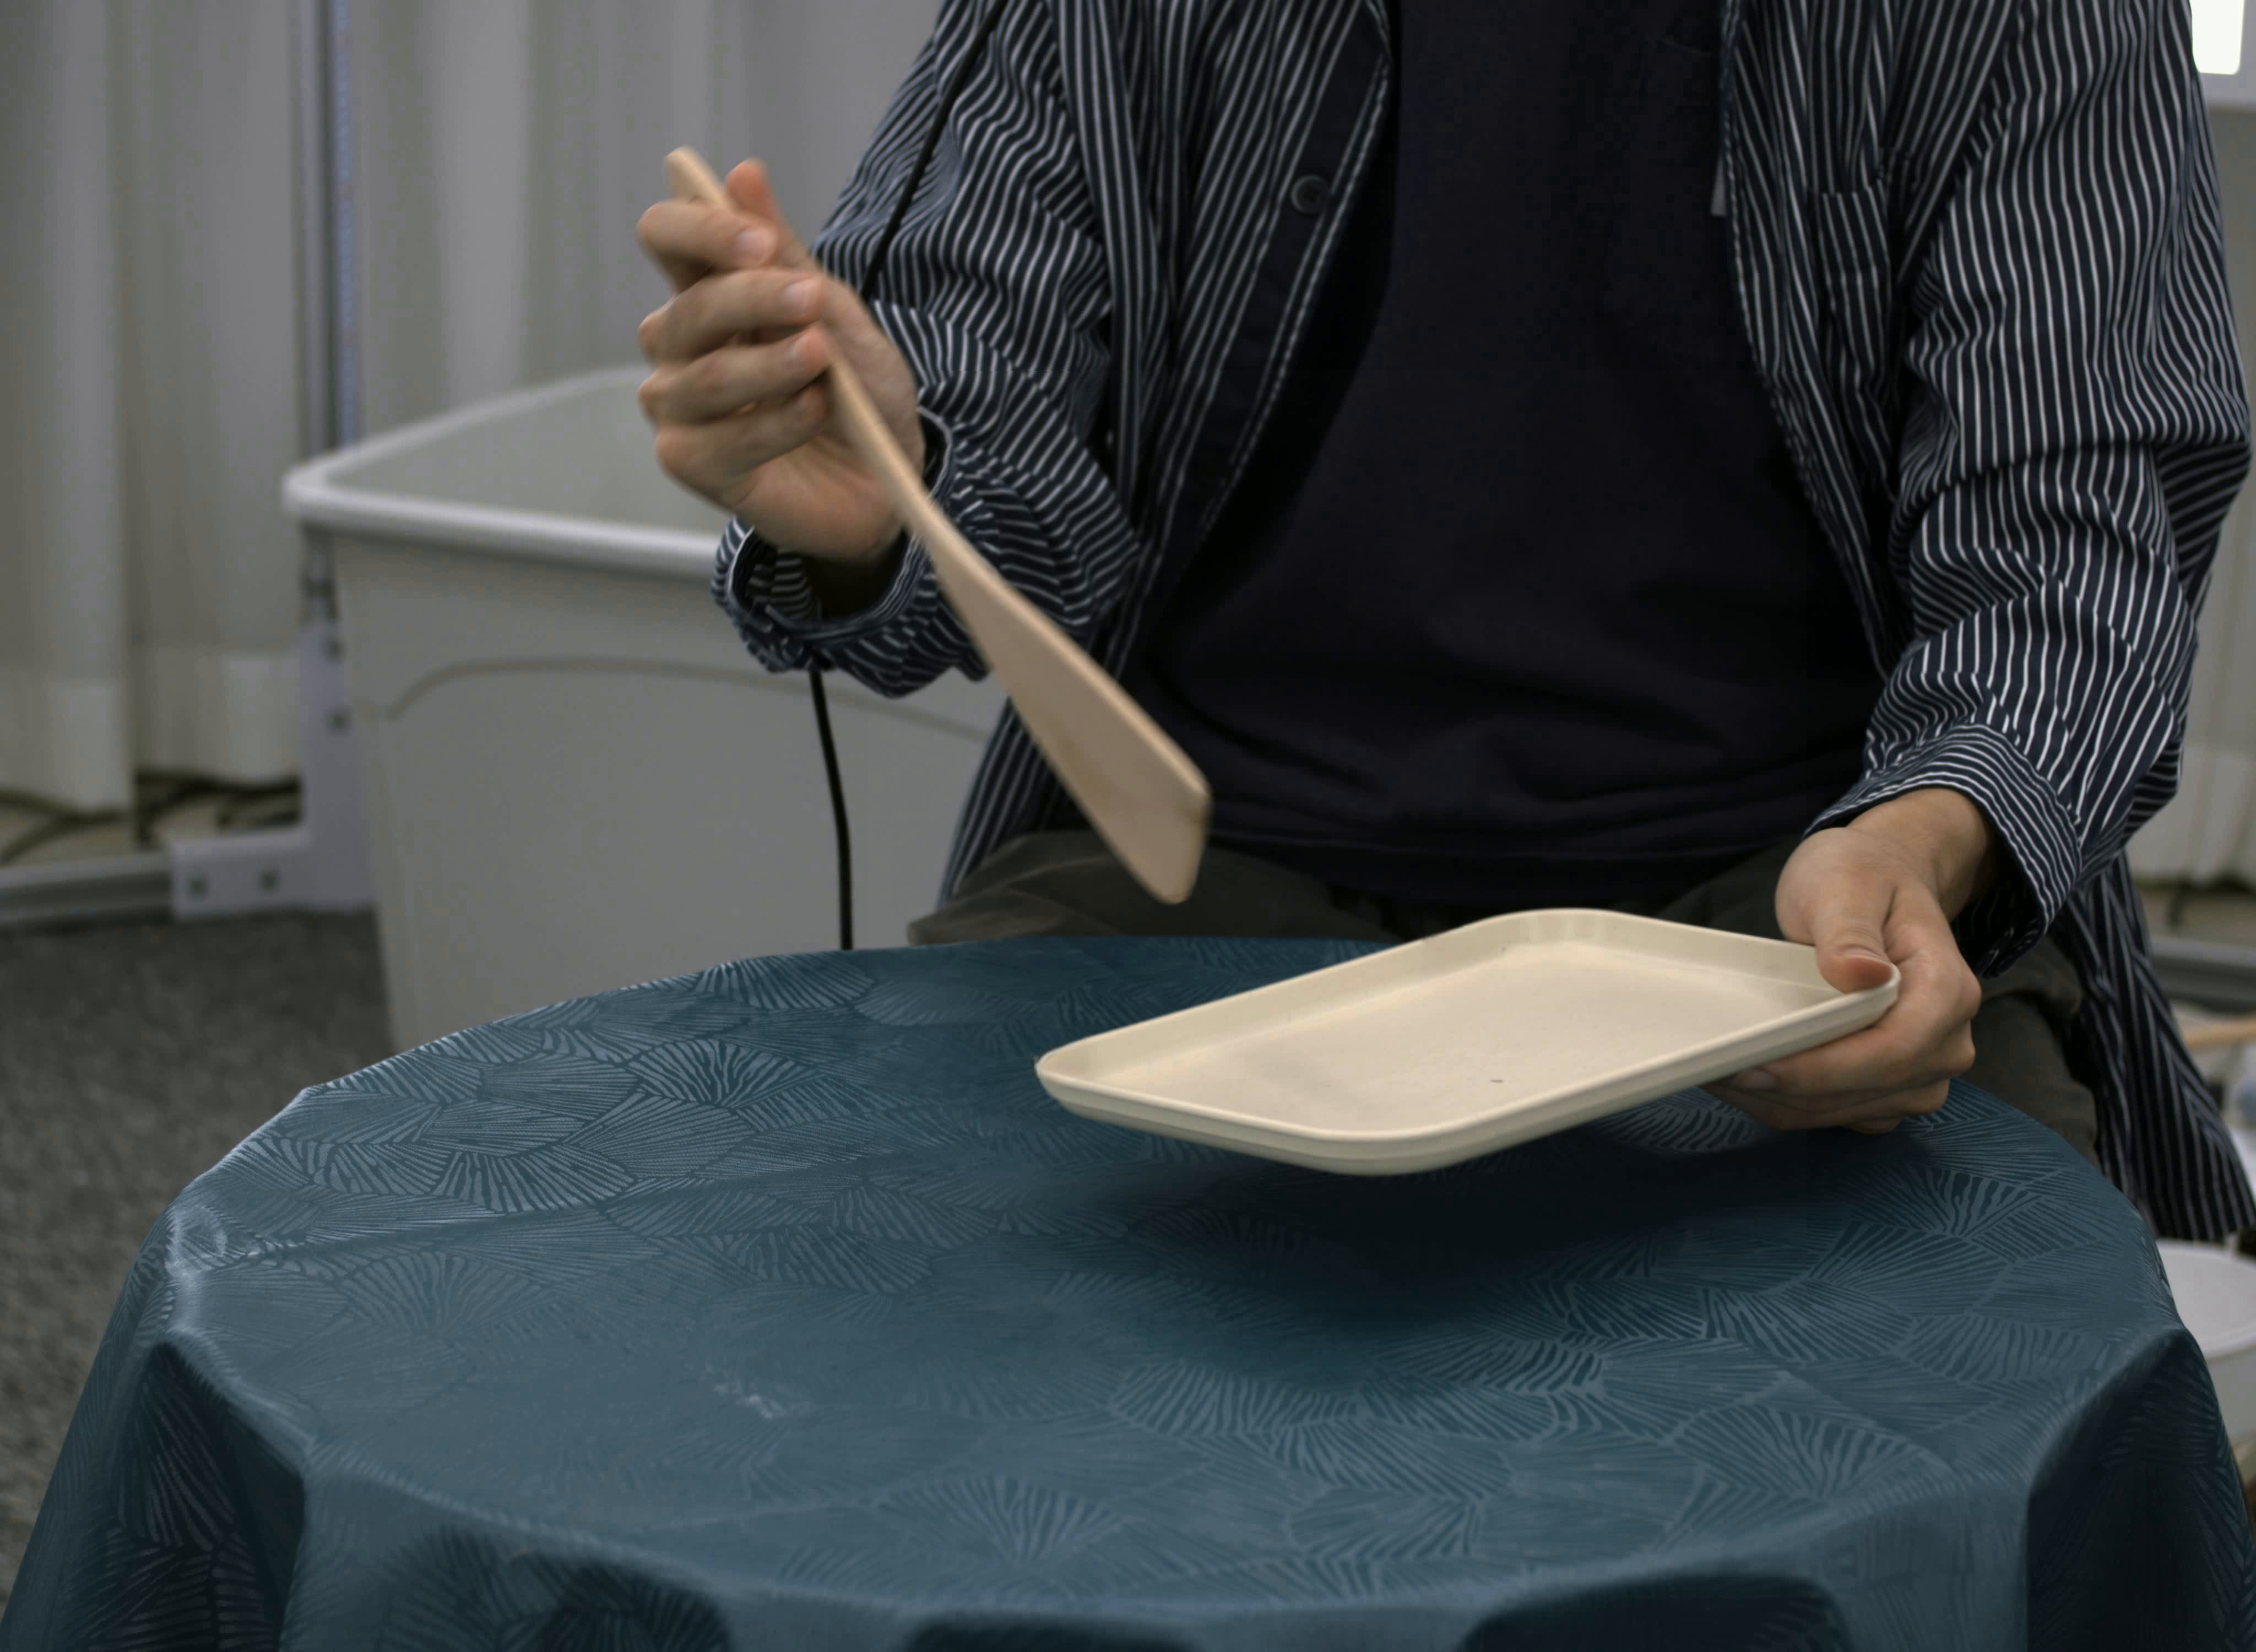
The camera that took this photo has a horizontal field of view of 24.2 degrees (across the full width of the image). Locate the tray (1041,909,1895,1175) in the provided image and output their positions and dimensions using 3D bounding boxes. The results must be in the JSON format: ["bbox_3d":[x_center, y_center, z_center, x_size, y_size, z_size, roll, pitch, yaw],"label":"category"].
[{"bbox_3d":[0.105,0.065,1.607,0.241,0.017,0.169,-14,16,-40],"label":"tray"}]

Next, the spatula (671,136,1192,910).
[{"bbox_3d":[-0.066,-0.102,1.623,0.016,0.081,0.324,-22,58,-18],"label":"spatula"}]
